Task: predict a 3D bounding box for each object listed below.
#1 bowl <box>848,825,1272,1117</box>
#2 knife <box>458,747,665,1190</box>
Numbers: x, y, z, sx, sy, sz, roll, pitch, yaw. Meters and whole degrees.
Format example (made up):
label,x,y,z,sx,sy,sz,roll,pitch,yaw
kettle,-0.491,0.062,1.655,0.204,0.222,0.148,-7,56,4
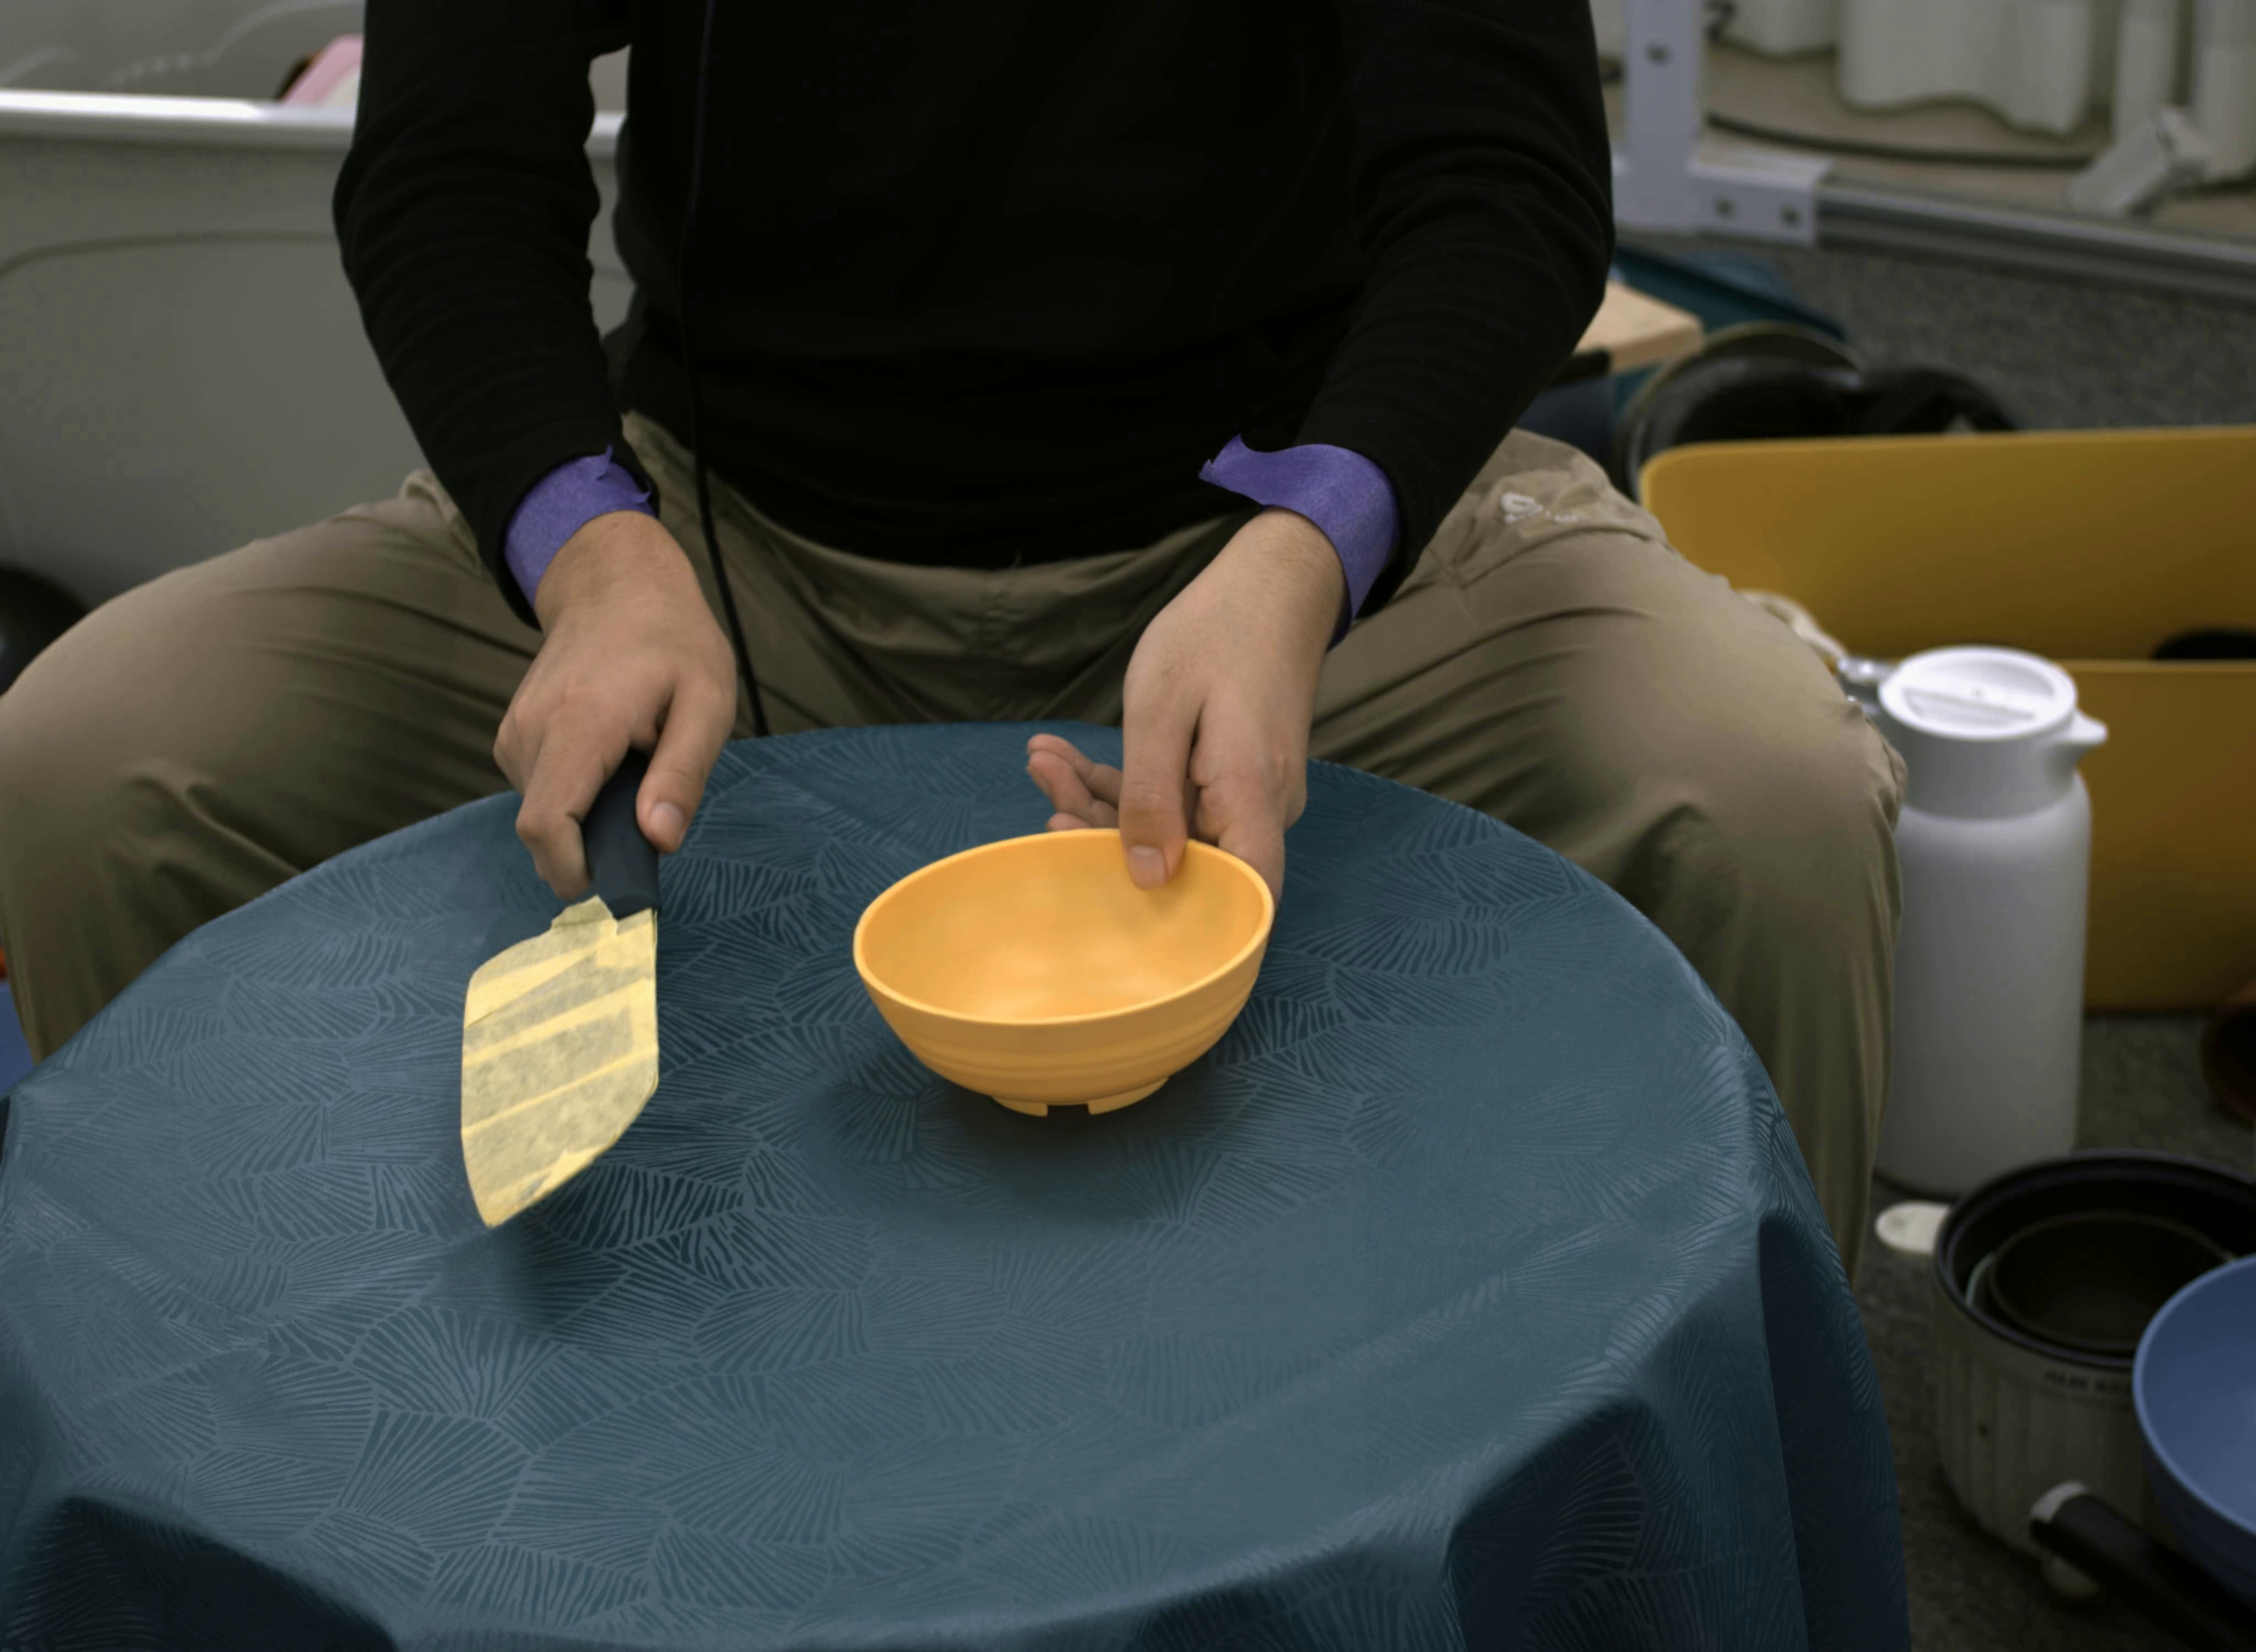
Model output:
label,x,y,z,sx,sy,sz,roll,pitch,yaw
bowl,-0.022,0.058,1.918,0.144,0.059,0.147,-2,26,2
knife,-0.191,0.048,1.919,0.080,0.027,0.294,-19,26,8
